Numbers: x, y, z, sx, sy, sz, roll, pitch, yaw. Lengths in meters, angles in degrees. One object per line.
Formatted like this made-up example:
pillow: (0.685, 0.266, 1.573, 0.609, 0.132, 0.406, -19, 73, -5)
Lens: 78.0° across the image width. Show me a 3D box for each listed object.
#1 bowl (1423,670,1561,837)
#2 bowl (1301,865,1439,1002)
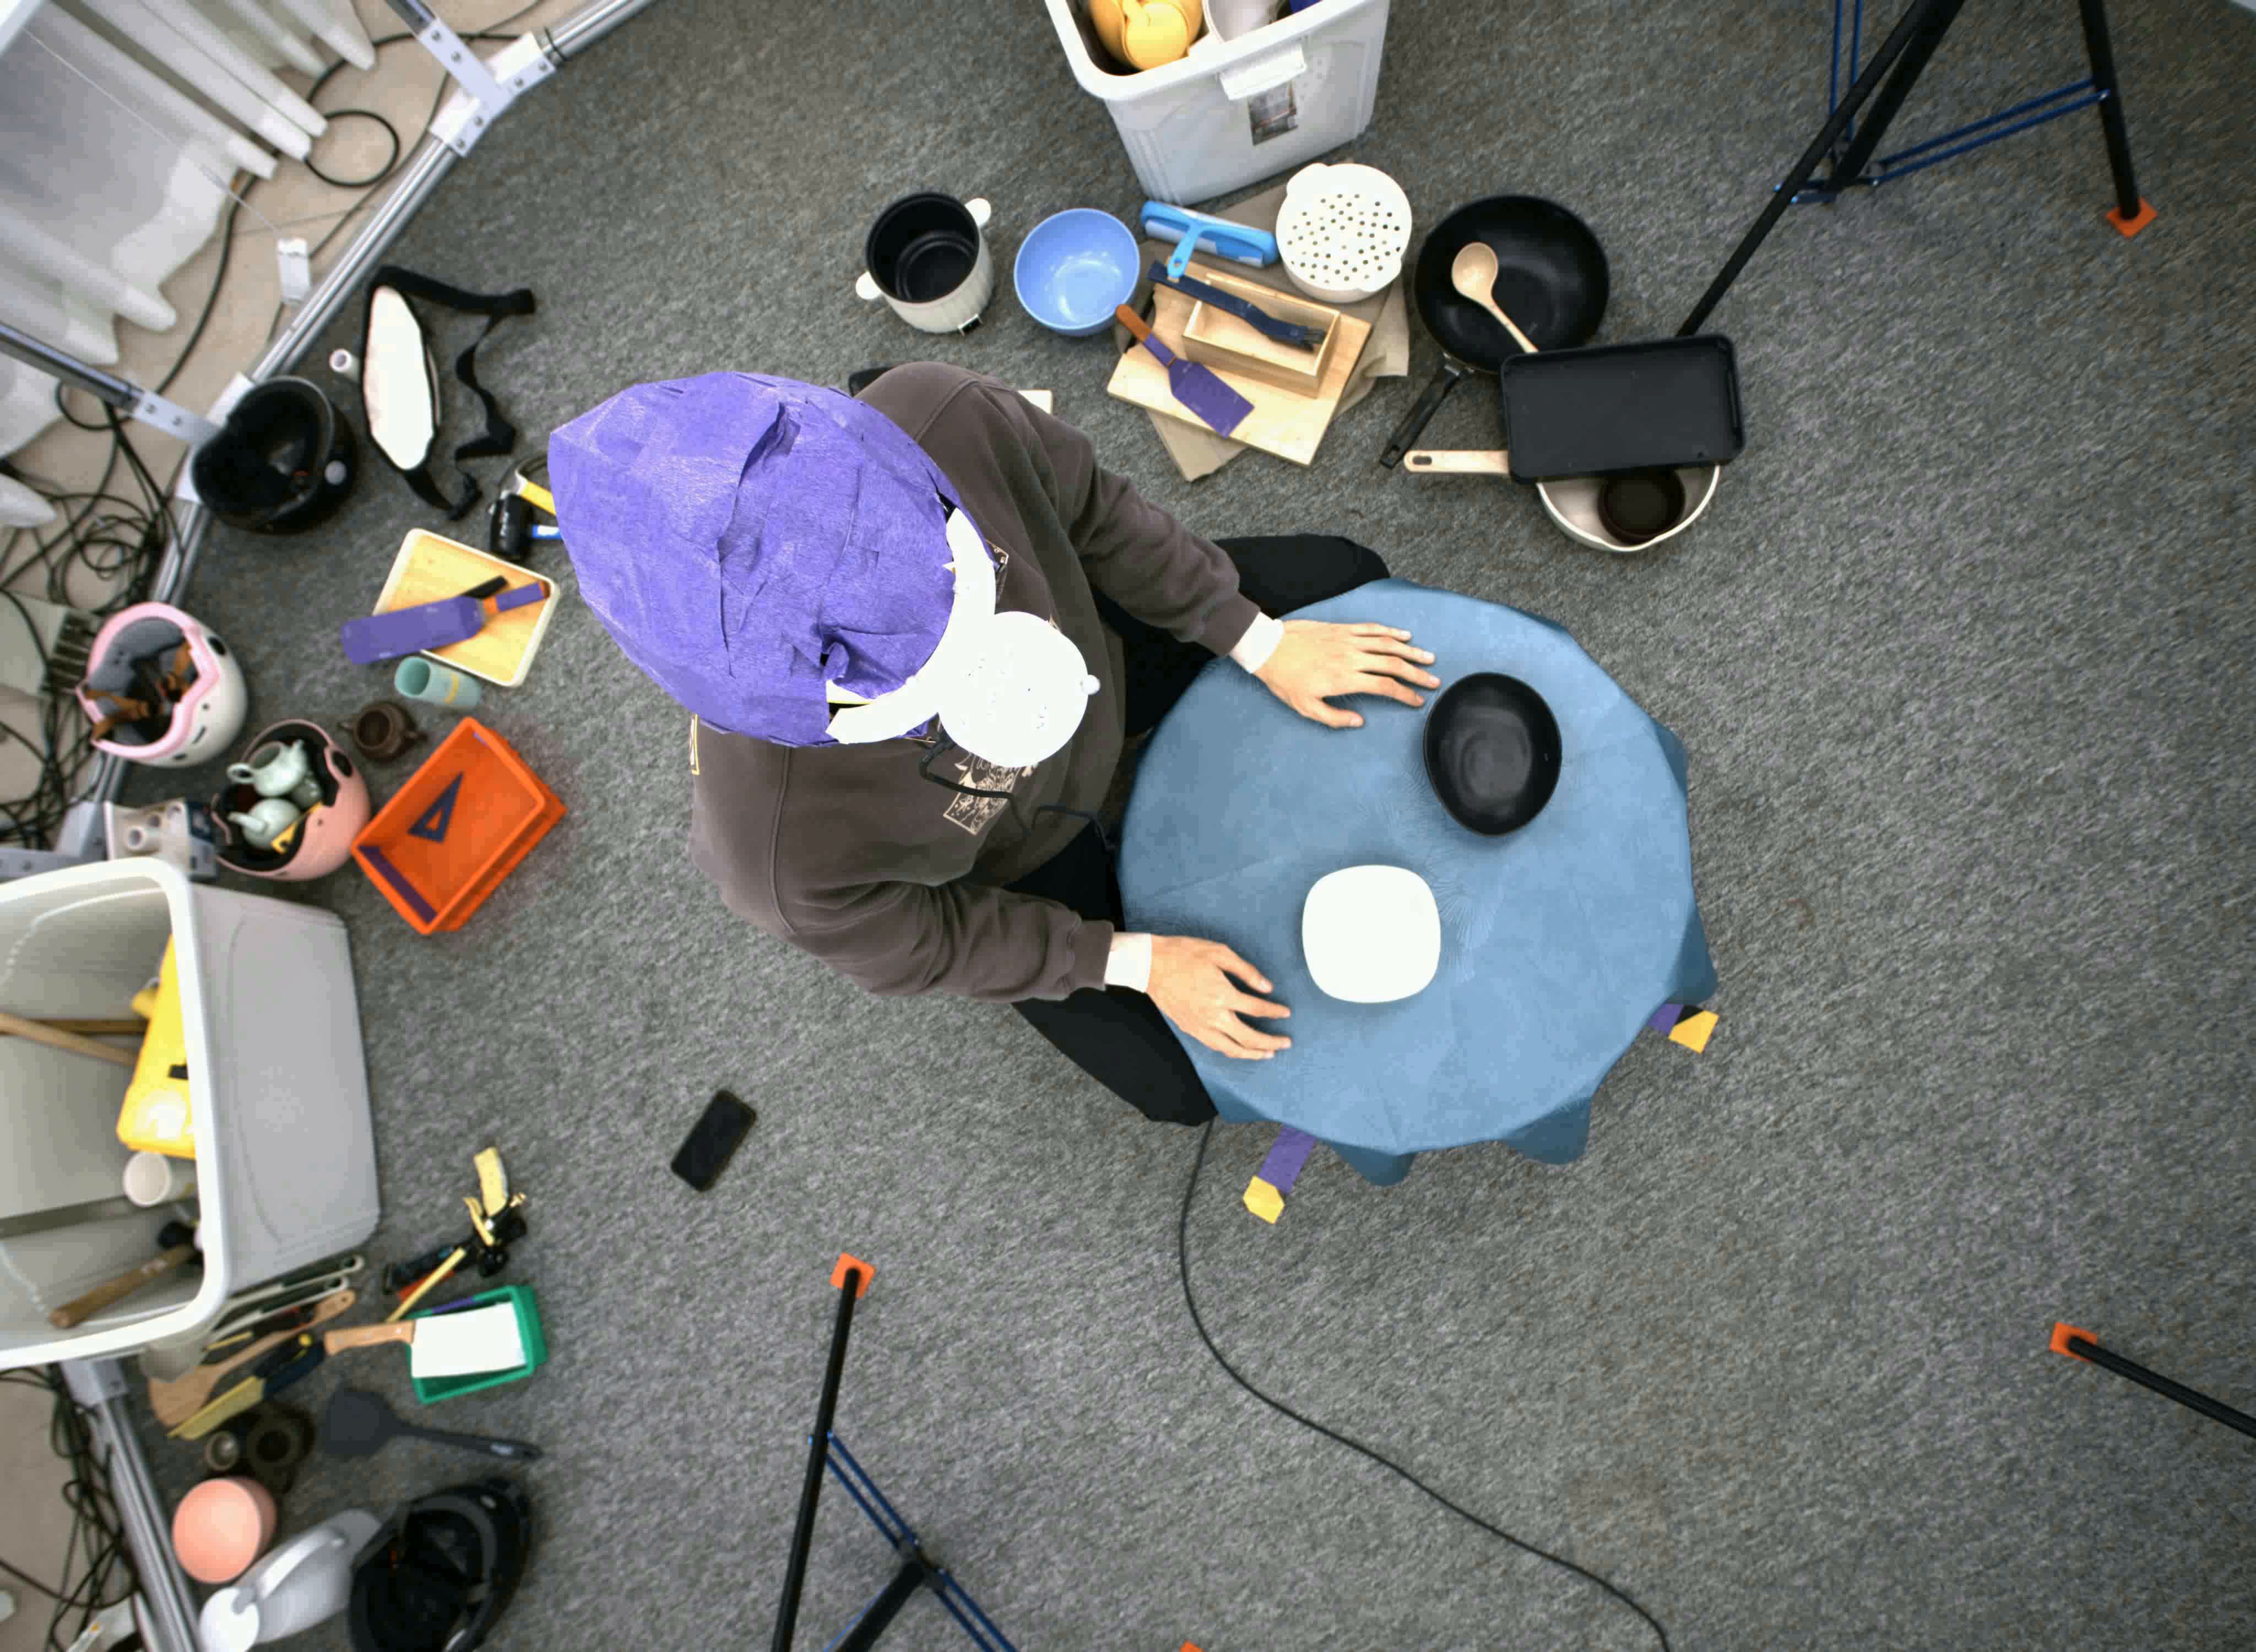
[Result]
bowl: (0.373, -0.075, 1.413, 0.138, 0.066, 0.169, -6, 87, 10)
bowl: (0.249, 0.110, 1.430, 0.152, 0.058, 0.151, 0, 88, 8)
